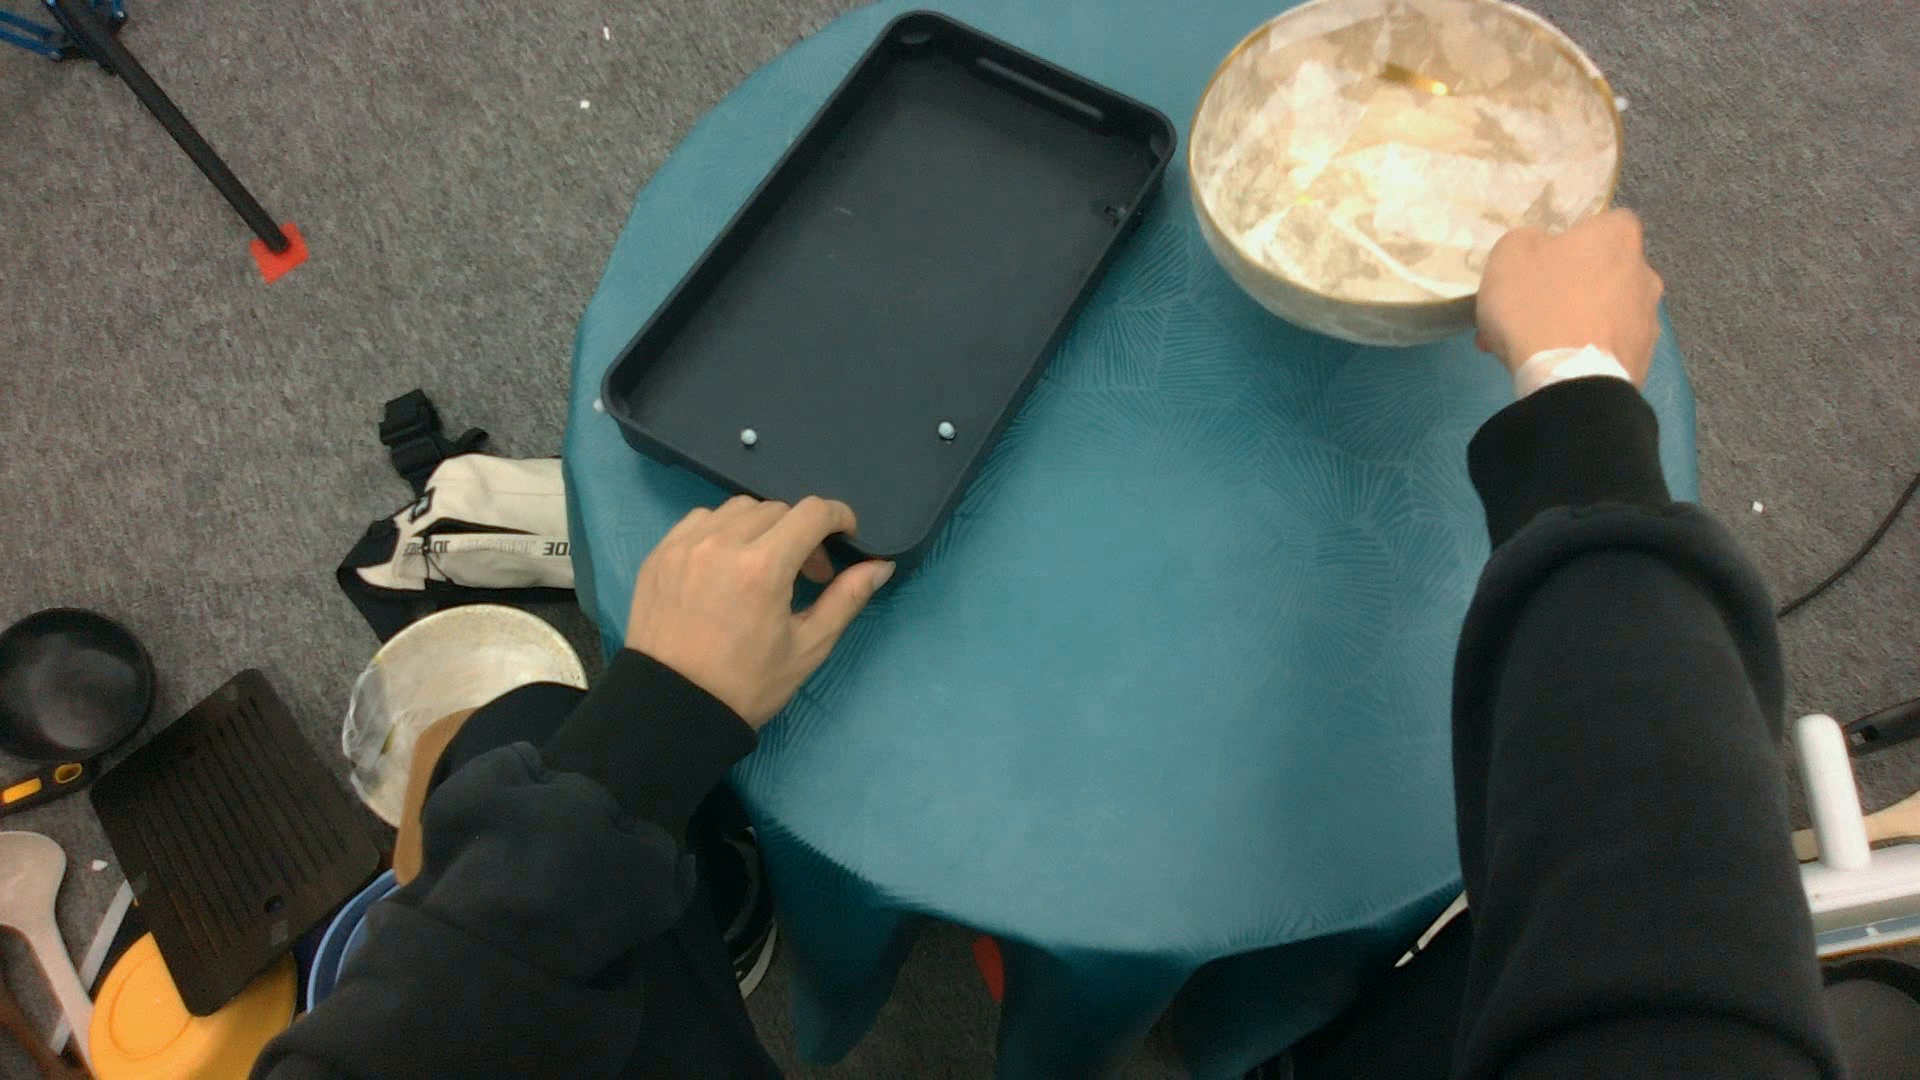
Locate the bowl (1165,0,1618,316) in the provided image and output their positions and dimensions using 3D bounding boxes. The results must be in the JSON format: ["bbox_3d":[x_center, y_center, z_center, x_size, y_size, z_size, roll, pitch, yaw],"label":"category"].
[{"bbox_3d":[0.205,-0.187,0.691,0.214,0.094,0.215,-2,65,5],"label":"bowl"}]

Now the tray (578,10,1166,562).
[{"bbox_3d":[-0.037,-0.148,0.733,0.184,0.037,0.319,28,64,12],"label":"tray"}]
